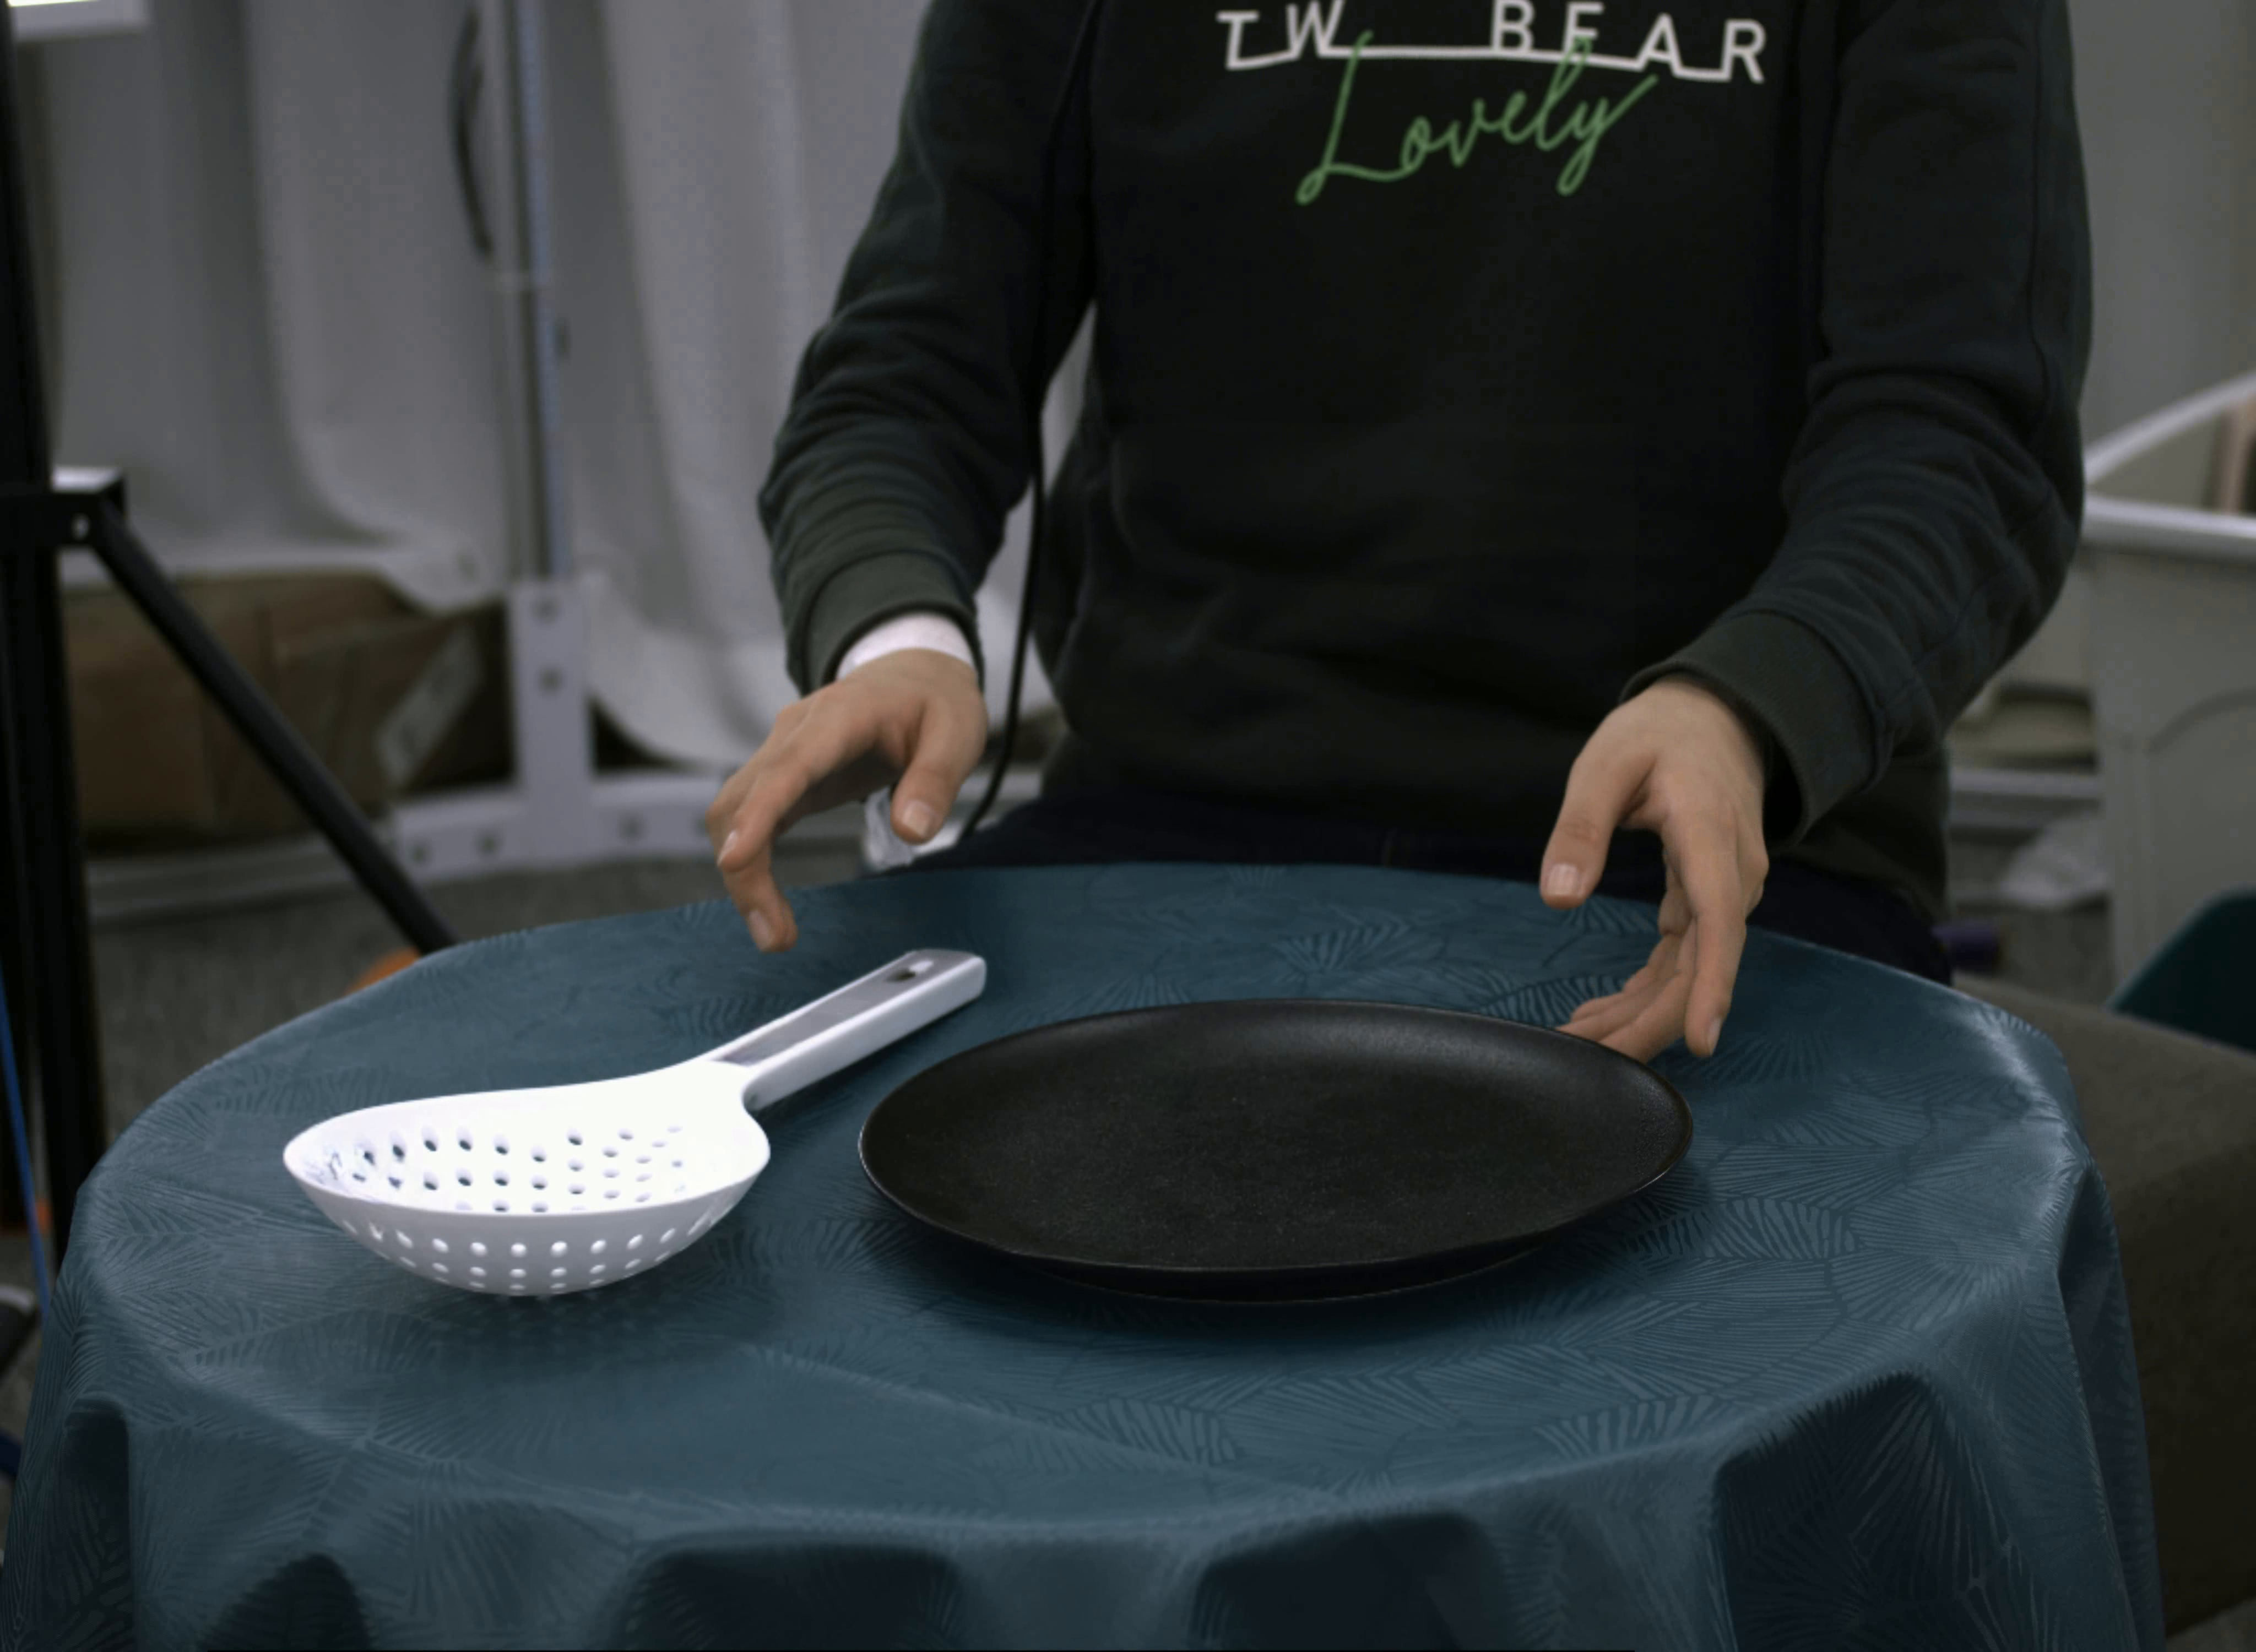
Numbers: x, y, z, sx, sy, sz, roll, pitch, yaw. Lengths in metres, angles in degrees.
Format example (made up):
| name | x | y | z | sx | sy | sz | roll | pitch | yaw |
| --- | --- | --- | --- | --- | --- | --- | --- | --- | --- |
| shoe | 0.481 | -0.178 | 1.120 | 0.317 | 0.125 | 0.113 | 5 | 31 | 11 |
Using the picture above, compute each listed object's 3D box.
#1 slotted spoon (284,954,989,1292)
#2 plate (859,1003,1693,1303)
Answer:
| name | x | y | z | sx | sy | sz | roll | pitch | yaw |
| --- | --- | --- | --- | --- | --- | --- | --- | --- | --- |
| slotted spoon | -0.126 | 0.079 | 1.597 | 0.138 | 0.046 | 0.344 | 7 | 17 | 23 |
| plate | 0.043 | 0.097 | 1.546 | 0.243 | 0.023 | 0.245 | -3 | 15 | -1 |
